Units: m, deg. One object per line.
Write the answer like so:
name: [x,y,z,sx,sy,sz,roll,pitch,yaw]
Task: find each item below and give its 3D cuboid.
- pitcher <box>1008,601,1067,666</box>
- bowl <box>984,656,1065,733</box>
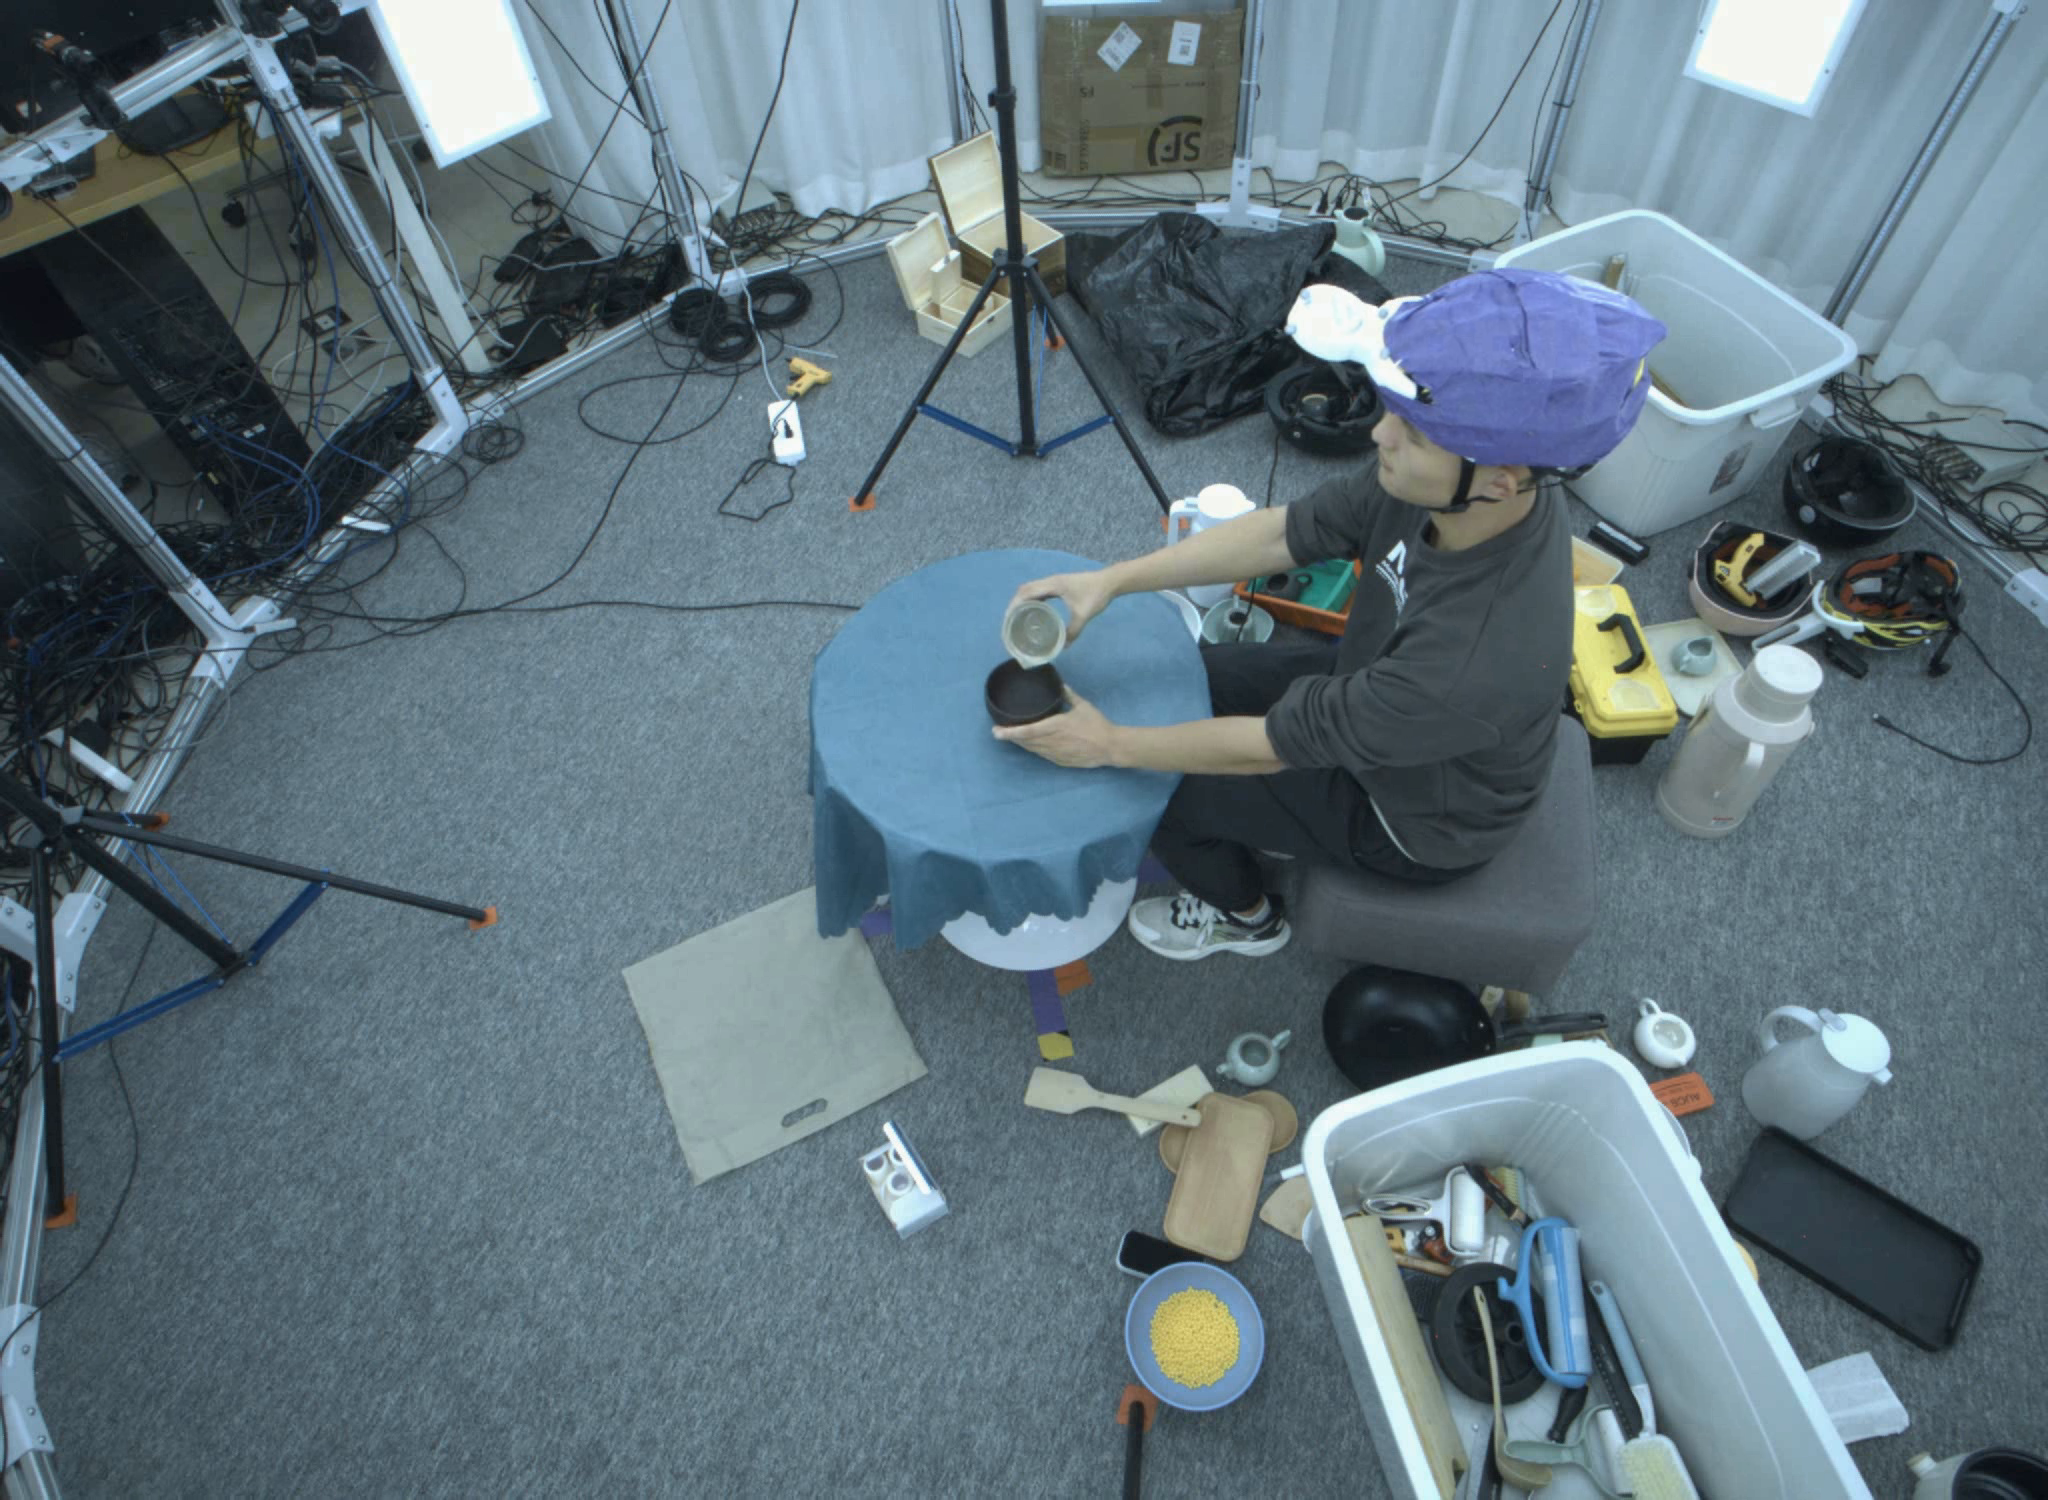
pitcher: [0.021,-0.173,1.790,0.083,0.096,0.071,20,16,1]
bowl: [0.002,-0.073,1.794,0.118,0.071,0.117,-2,52,4]
